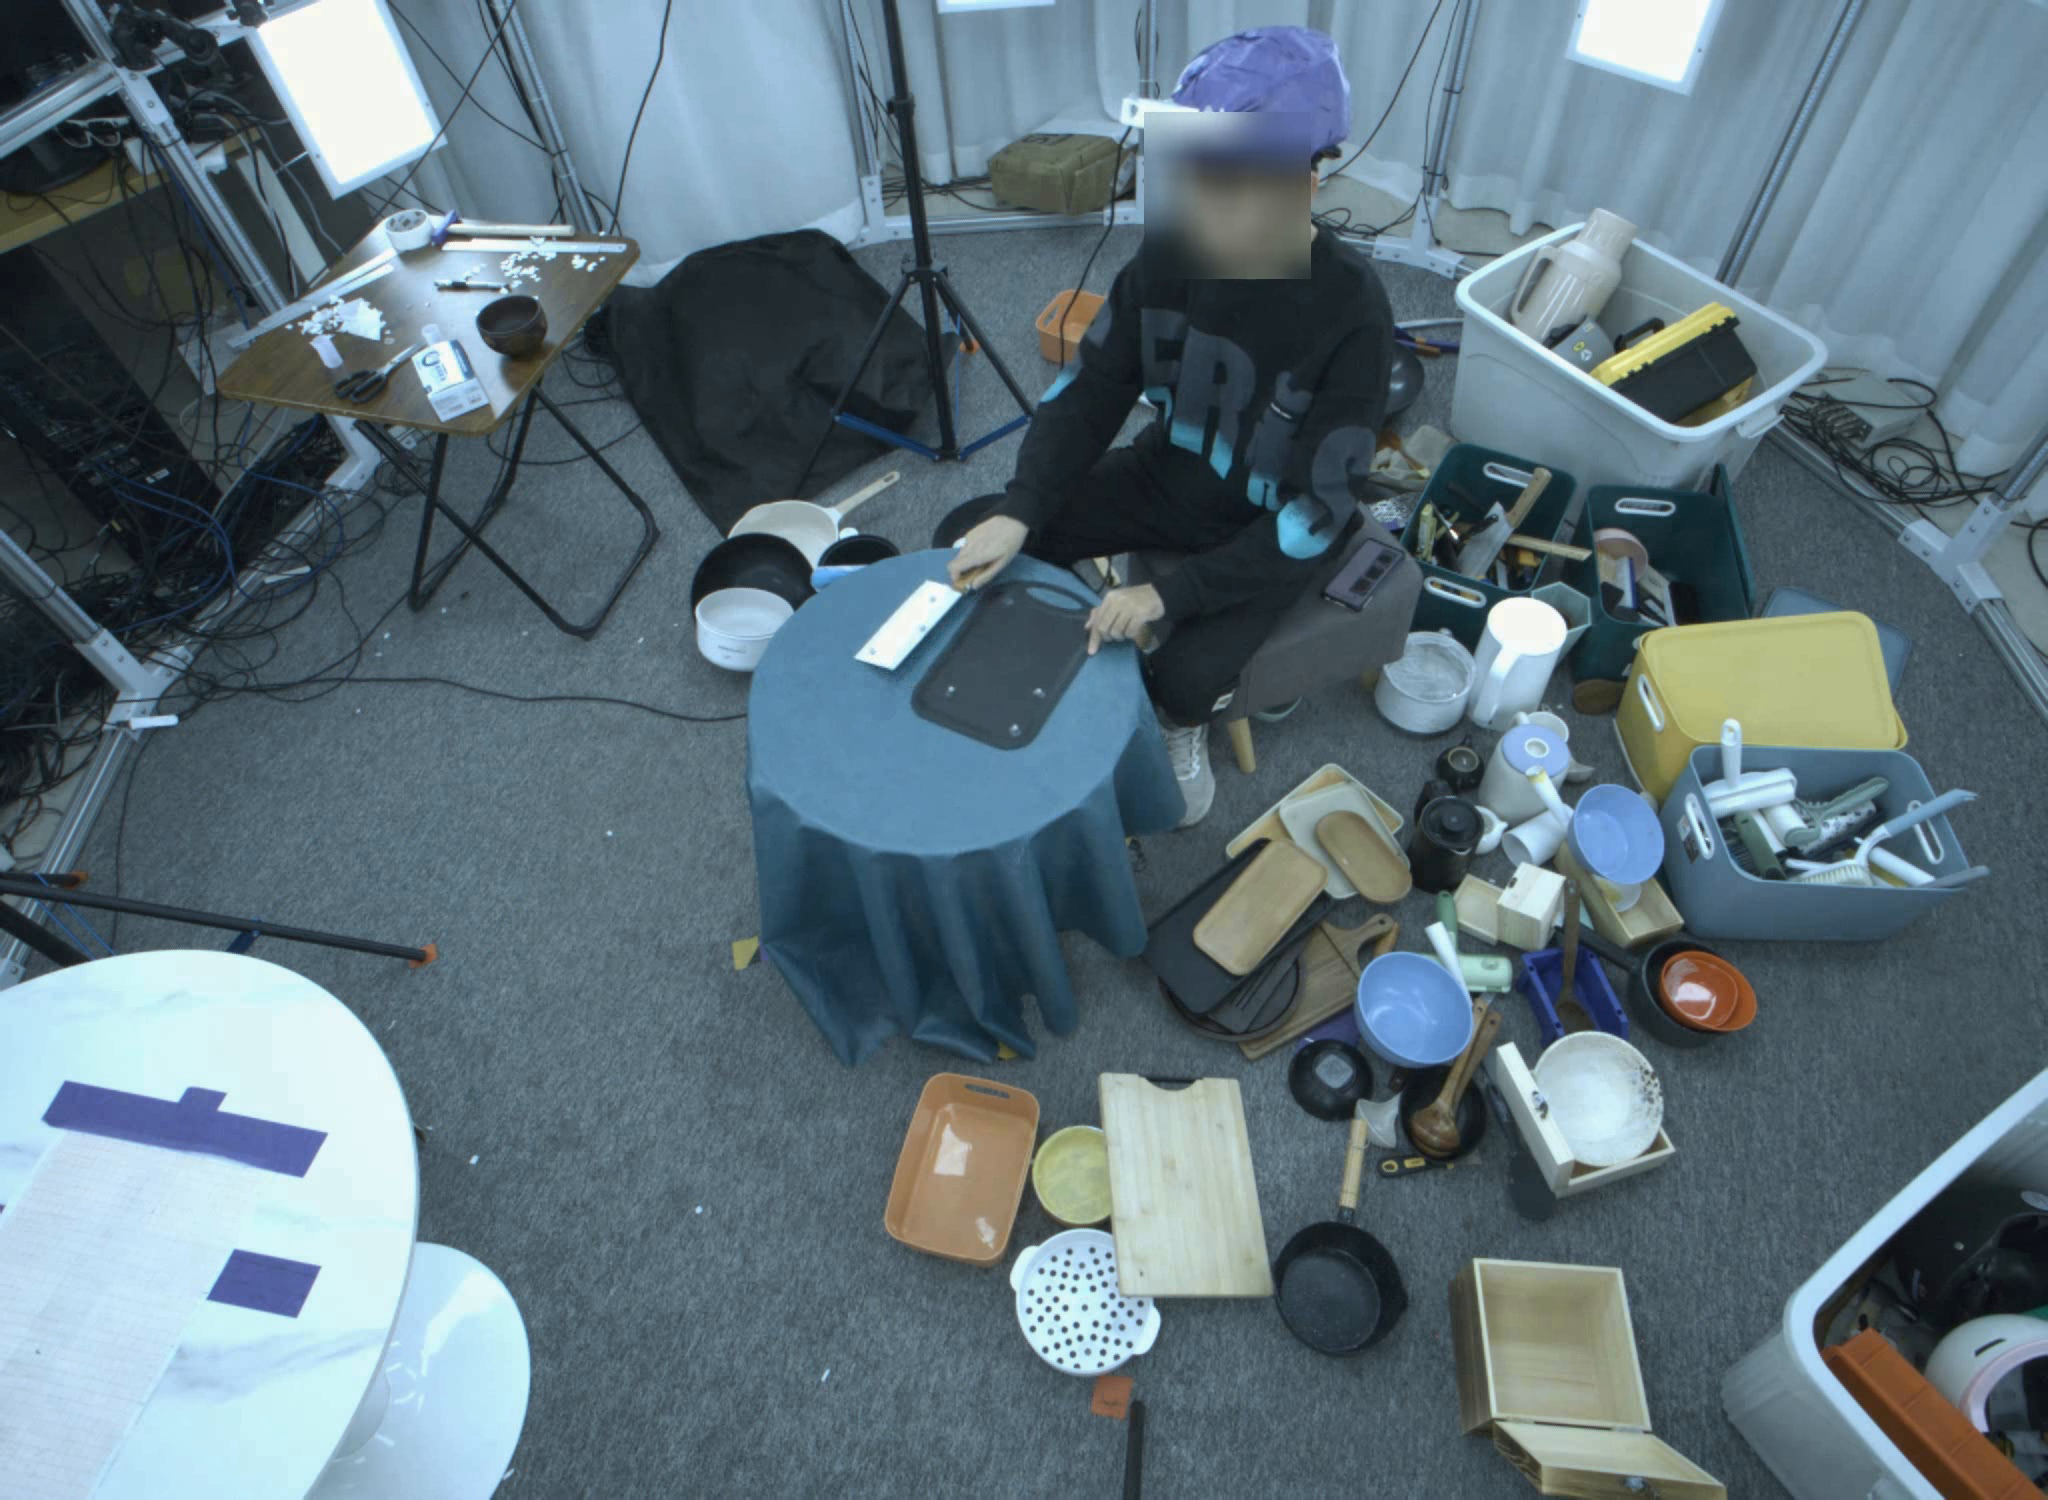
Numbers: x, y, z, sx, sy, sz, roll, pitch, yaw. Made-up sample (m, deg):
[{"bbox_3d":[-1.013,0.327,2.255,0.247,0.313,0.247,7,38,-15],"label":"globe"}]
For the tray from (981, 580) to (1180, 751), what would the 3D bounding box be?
[{"bbox_3d":[0.092,-0.142,1.880,0.208,0.010,0.326,27,60,20],"label":"tray"}]

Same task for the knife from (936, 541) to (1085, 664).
[{"bbox_3d":[-0.025,-0.241,1.941,0.091,0.021,0.307,24,59,36],"label":"knife"}]
